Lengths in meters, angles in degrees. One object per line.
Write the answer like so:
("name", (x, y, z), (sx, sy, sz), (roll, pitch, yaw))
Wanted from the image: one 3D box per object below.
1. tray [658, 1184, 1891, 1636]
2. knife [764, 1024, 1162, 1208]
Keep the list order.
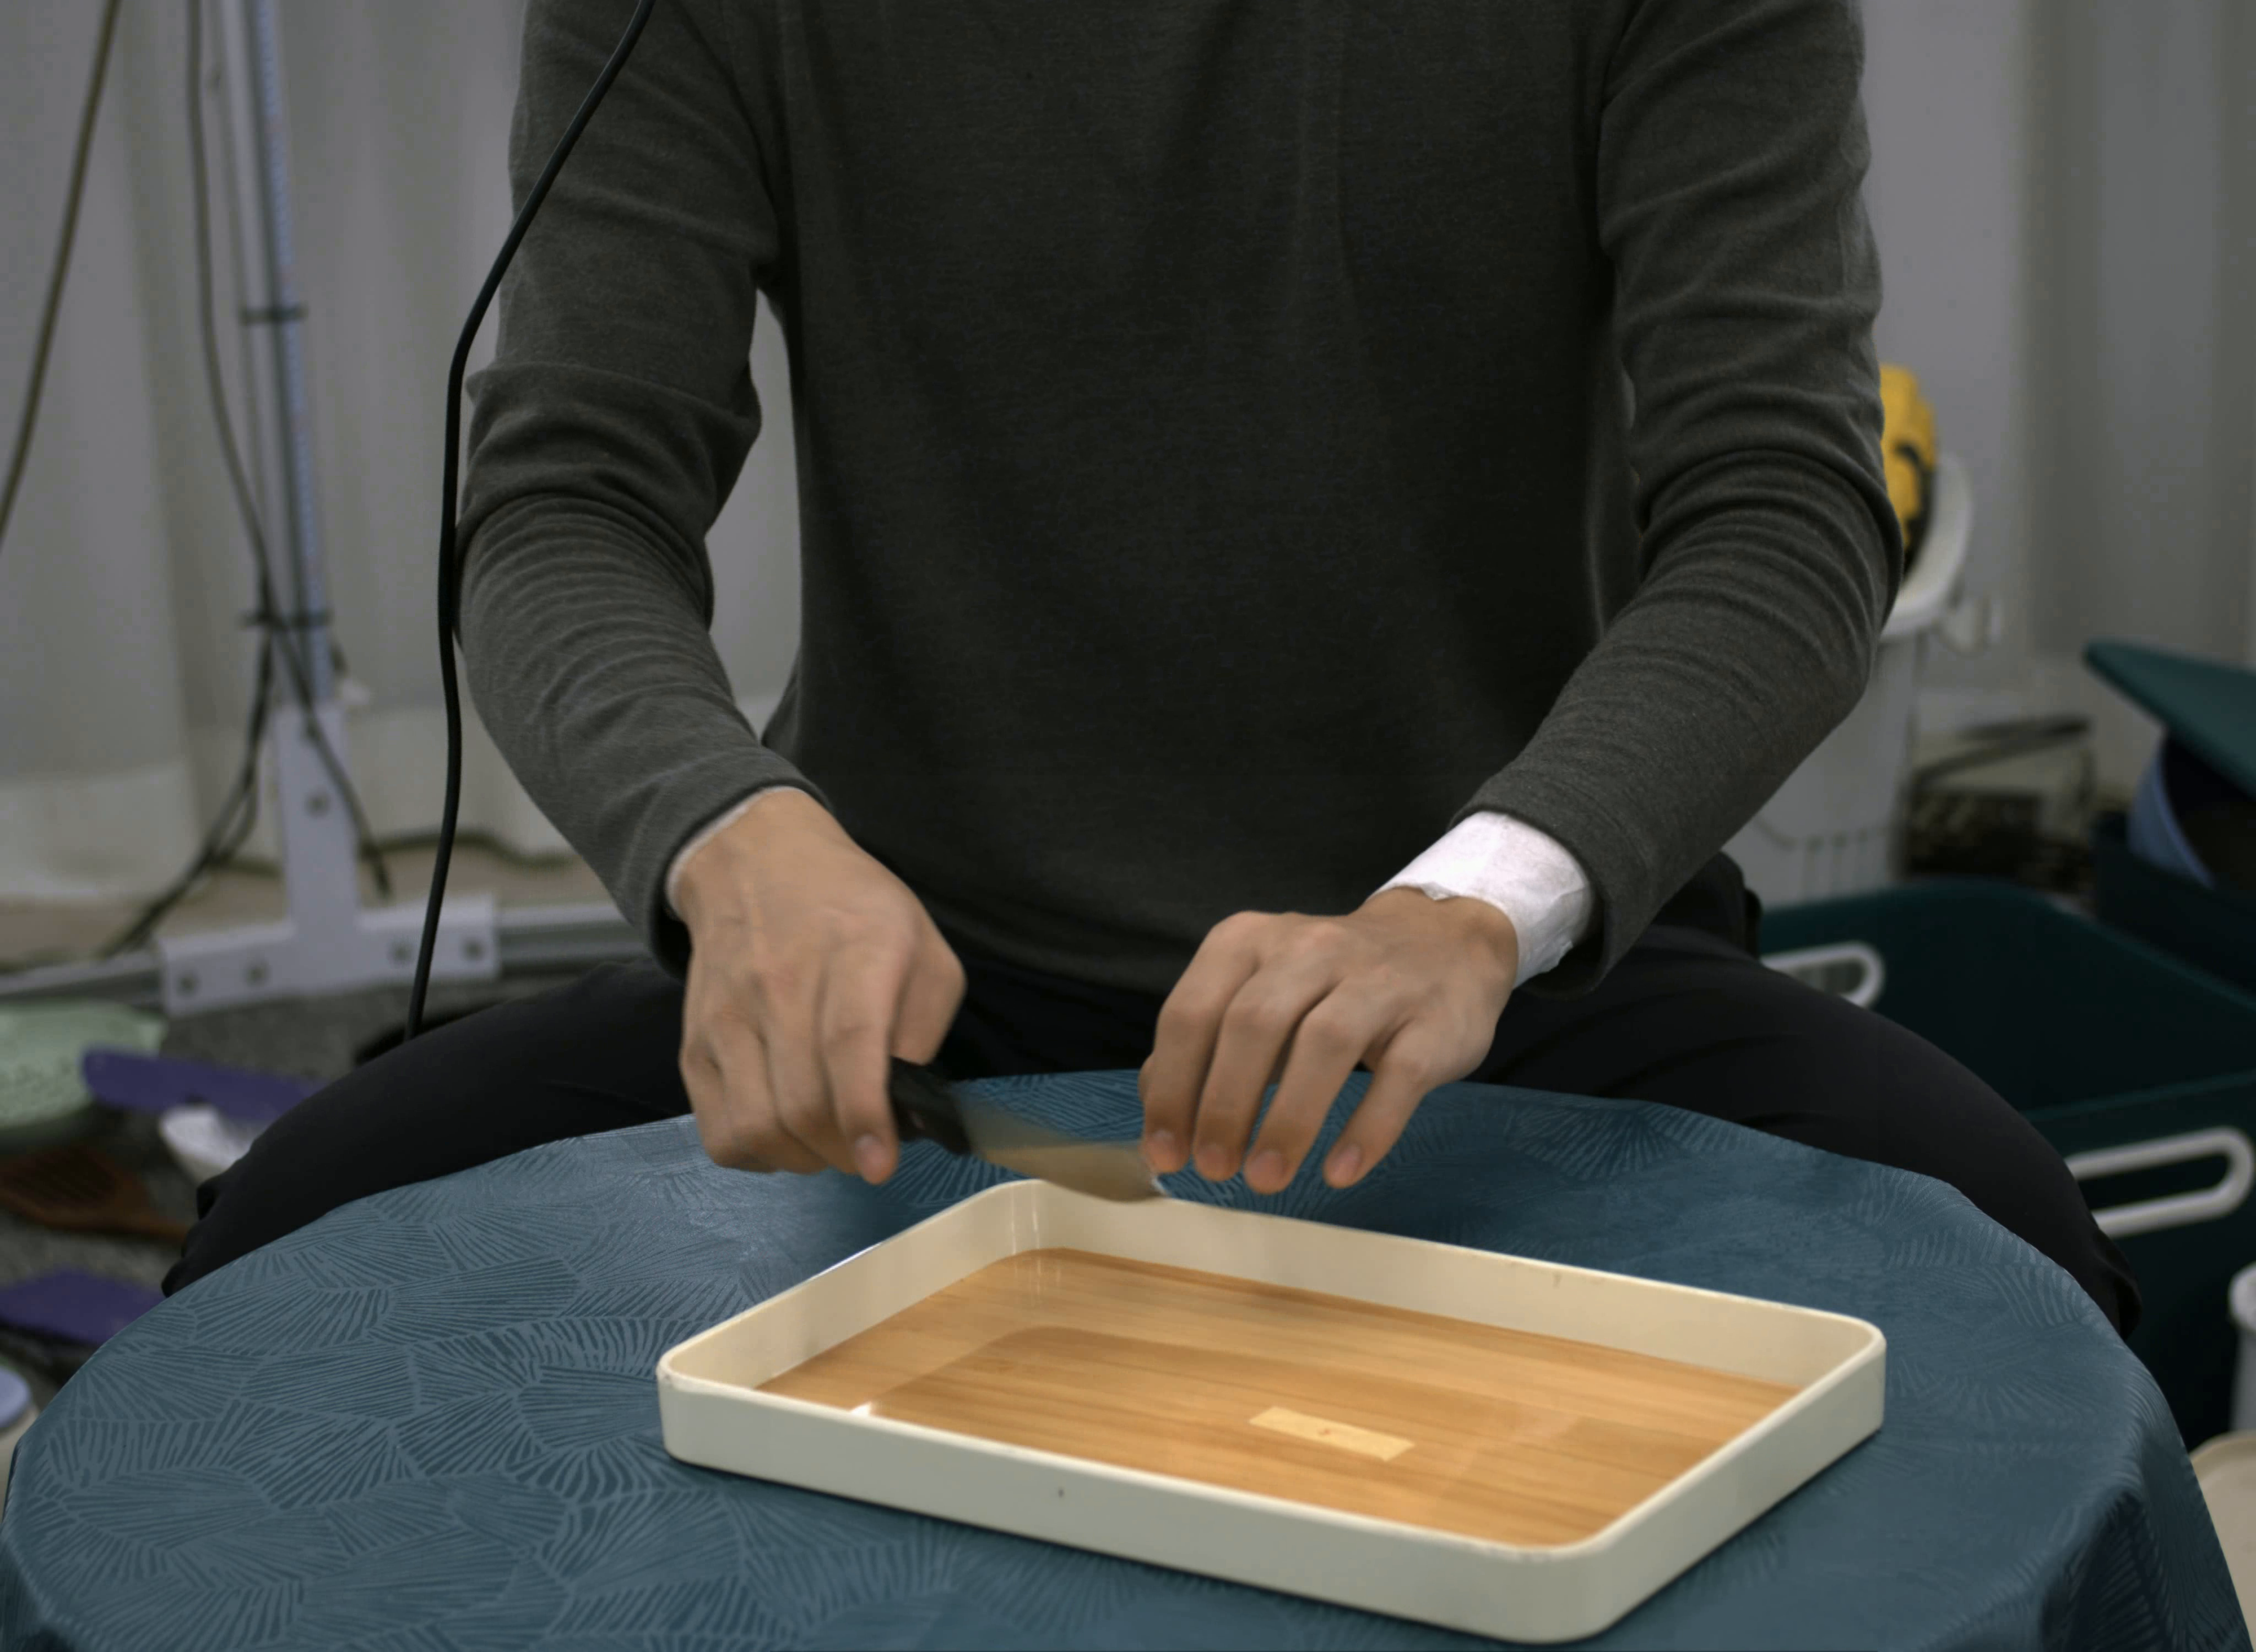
("tray", (0.039, 0.156, 1.504), (0.301, 0.027, 0.191), (7, 17, 34))
("knife", (-0.048, 0.080, 1.519), (0.016, 0.024, 0.239), (-36, 22, -19))
